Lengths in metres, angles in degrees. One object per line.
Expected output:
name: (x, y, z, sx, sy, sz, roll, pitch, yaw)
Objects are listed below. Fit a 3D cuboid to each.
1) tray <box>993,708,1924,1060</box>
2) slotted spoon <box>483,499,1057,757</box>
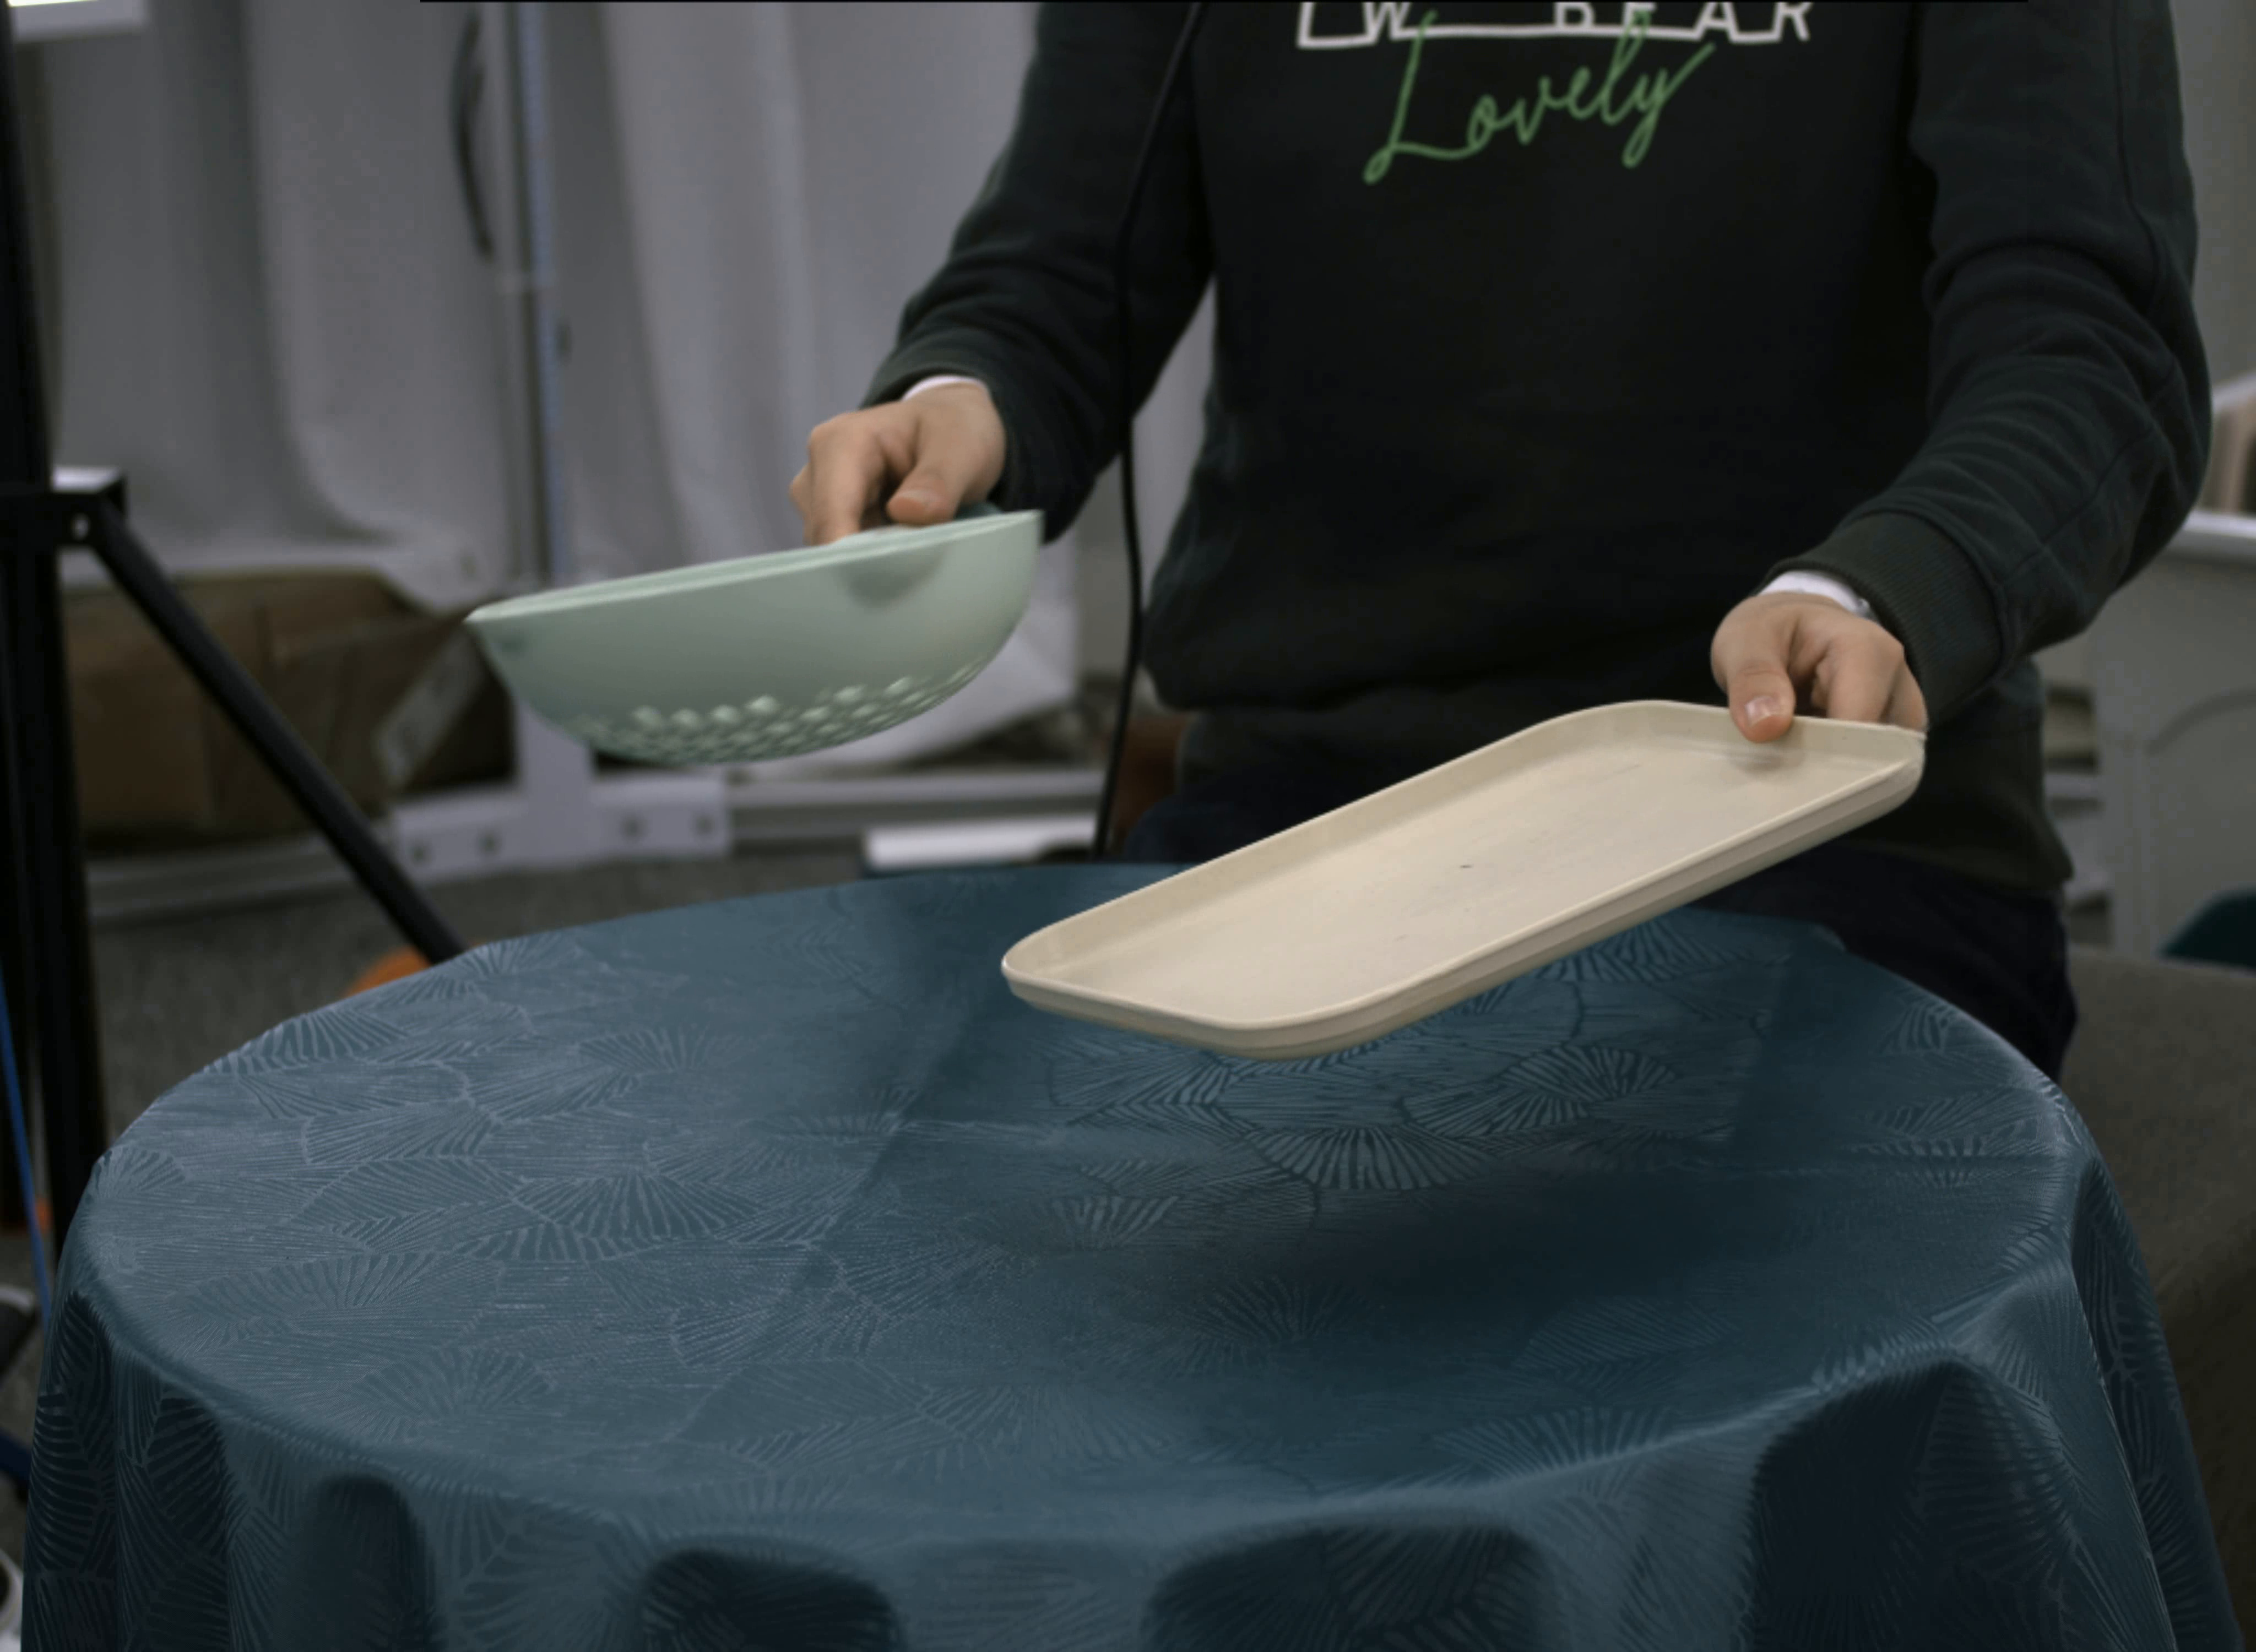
tray: (0.093, 0.015, 1.486, 0.235, 0.017, 0.175, -21, 15, -27)
slotted spoon: (-0.081, -0.078, 1.648, 0.170, 0.075, 0.357, -8, 12, 14)
